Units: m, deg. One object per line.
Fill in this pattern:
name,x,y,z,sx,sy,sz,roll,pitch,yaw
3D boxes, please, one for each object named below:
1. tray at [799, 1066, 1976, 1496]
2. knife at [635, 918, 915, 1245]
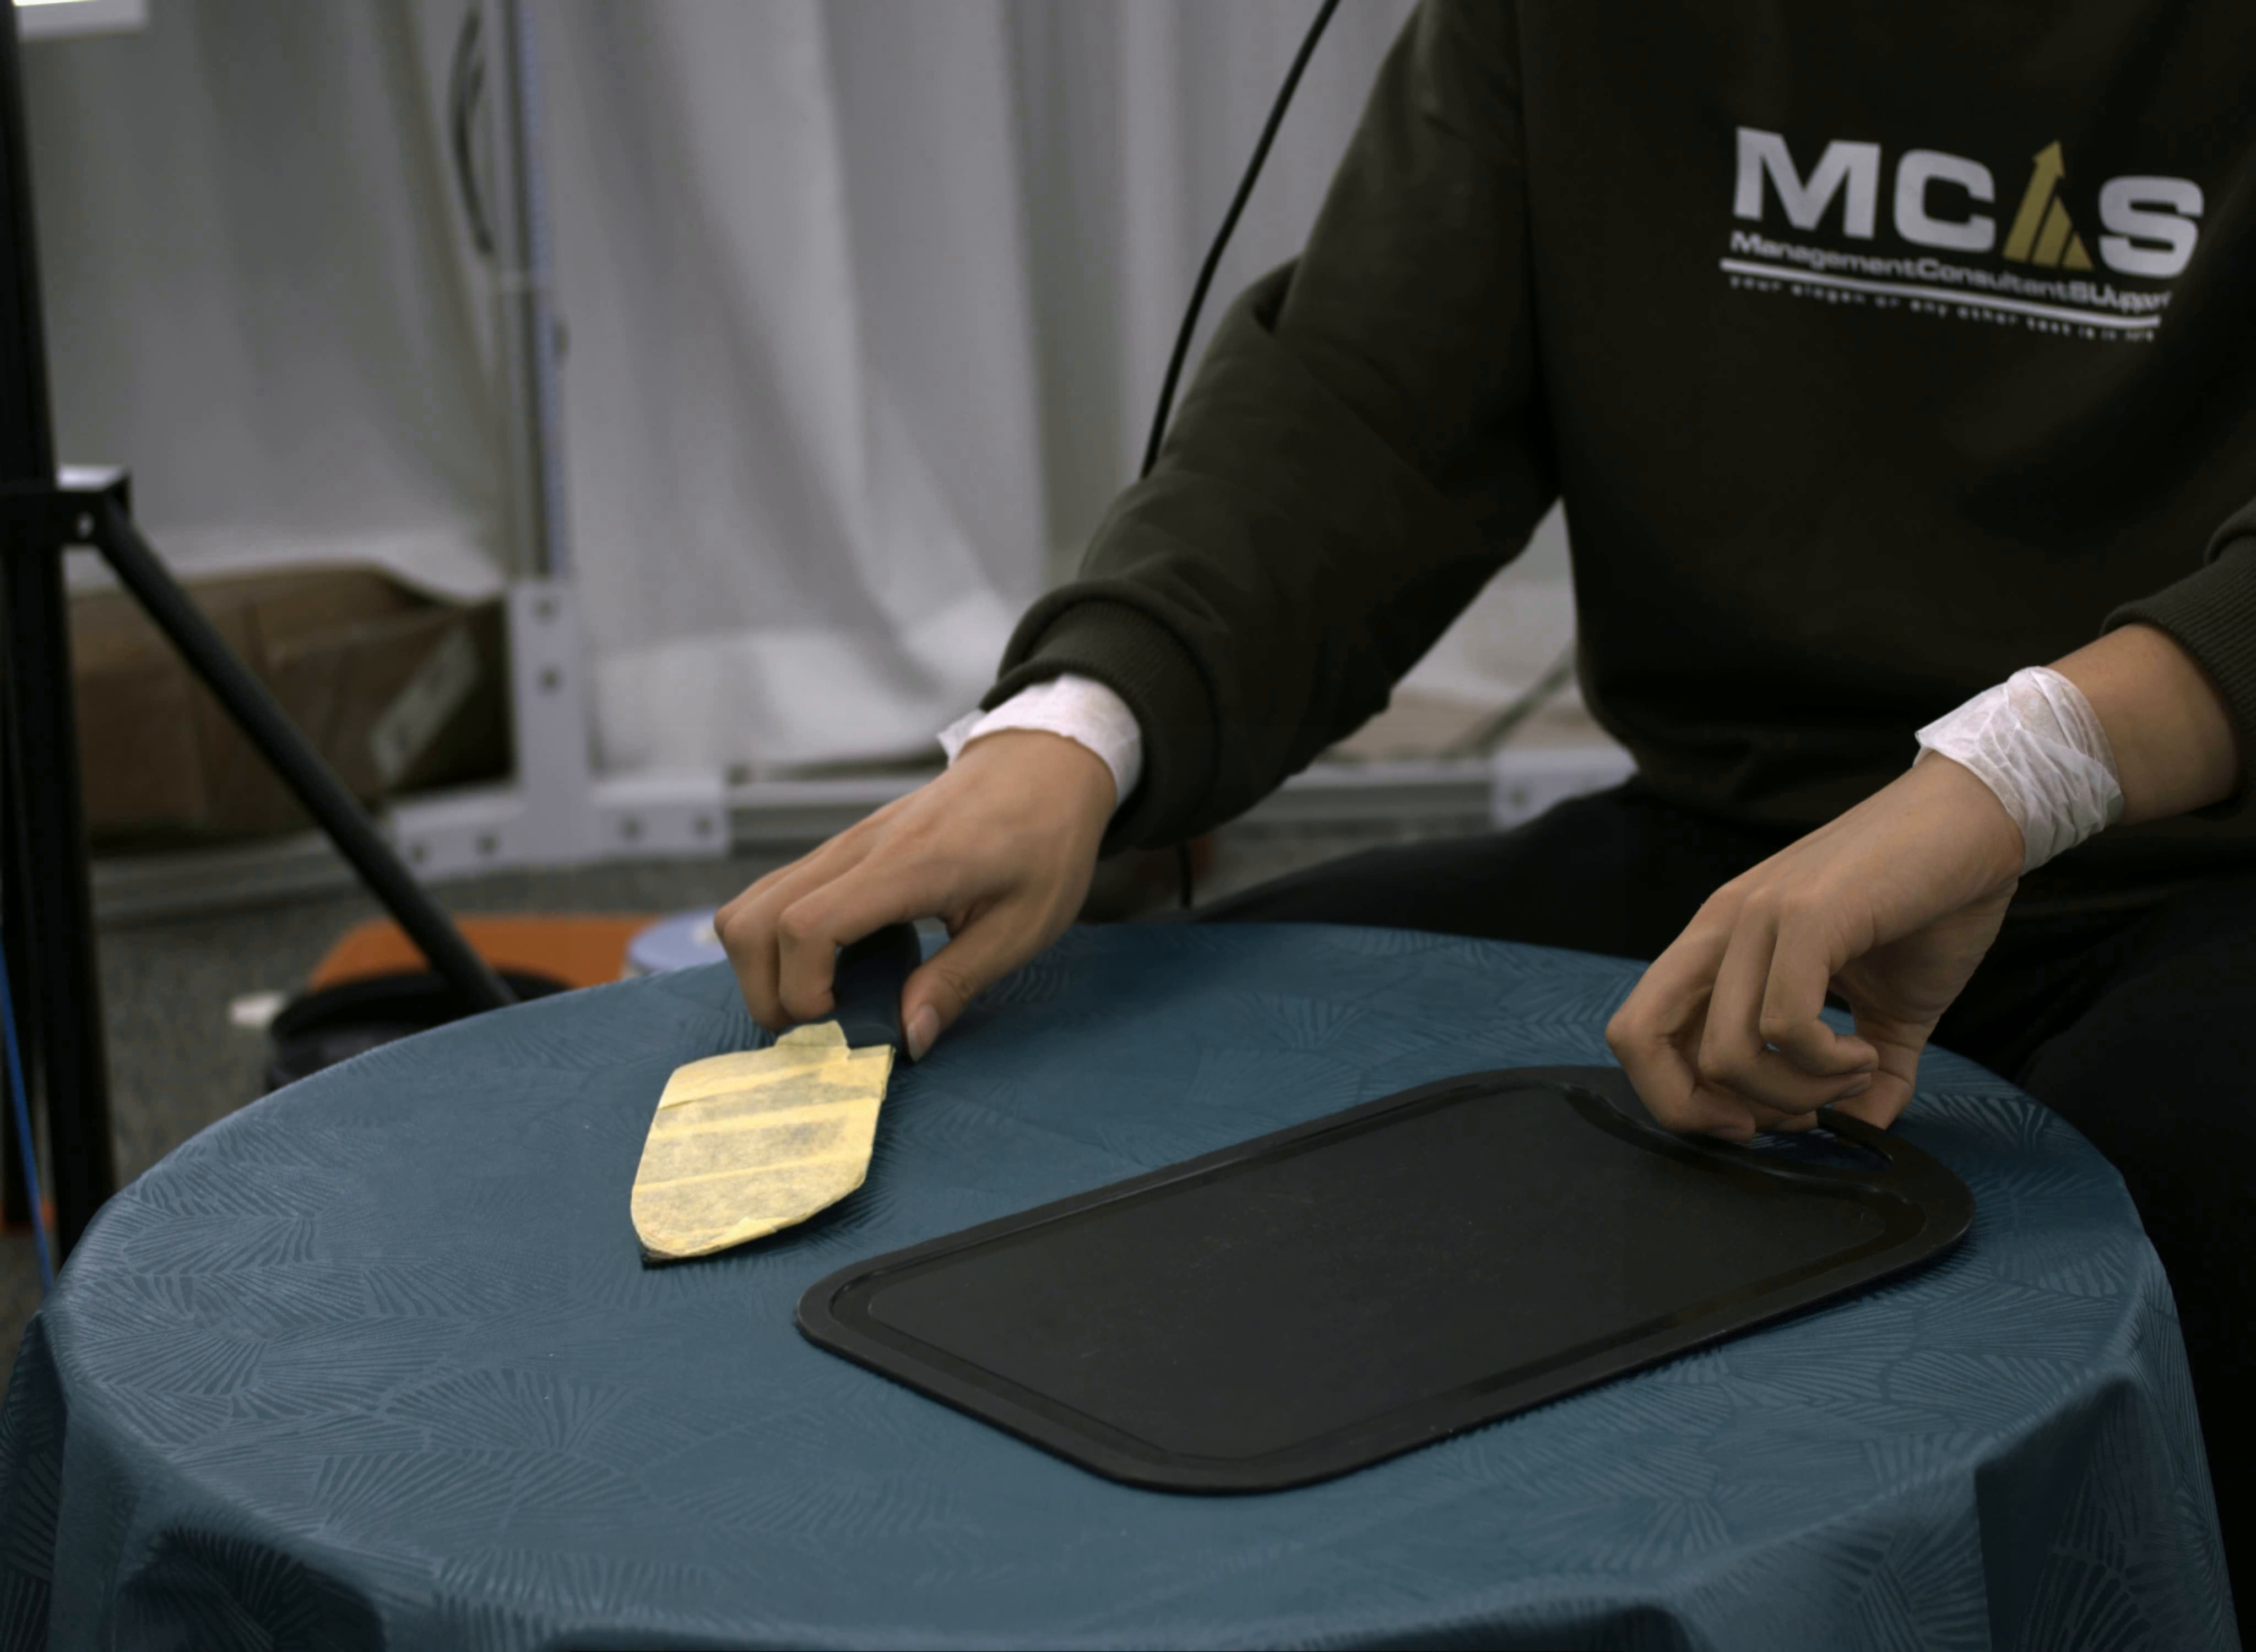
tray,0.081,0.119,1.490,0.318,0.010,0.216,-15,20,-34
knife,-0.106,0.079,1.654,0.081,0.027,0.289,-5,15,7
